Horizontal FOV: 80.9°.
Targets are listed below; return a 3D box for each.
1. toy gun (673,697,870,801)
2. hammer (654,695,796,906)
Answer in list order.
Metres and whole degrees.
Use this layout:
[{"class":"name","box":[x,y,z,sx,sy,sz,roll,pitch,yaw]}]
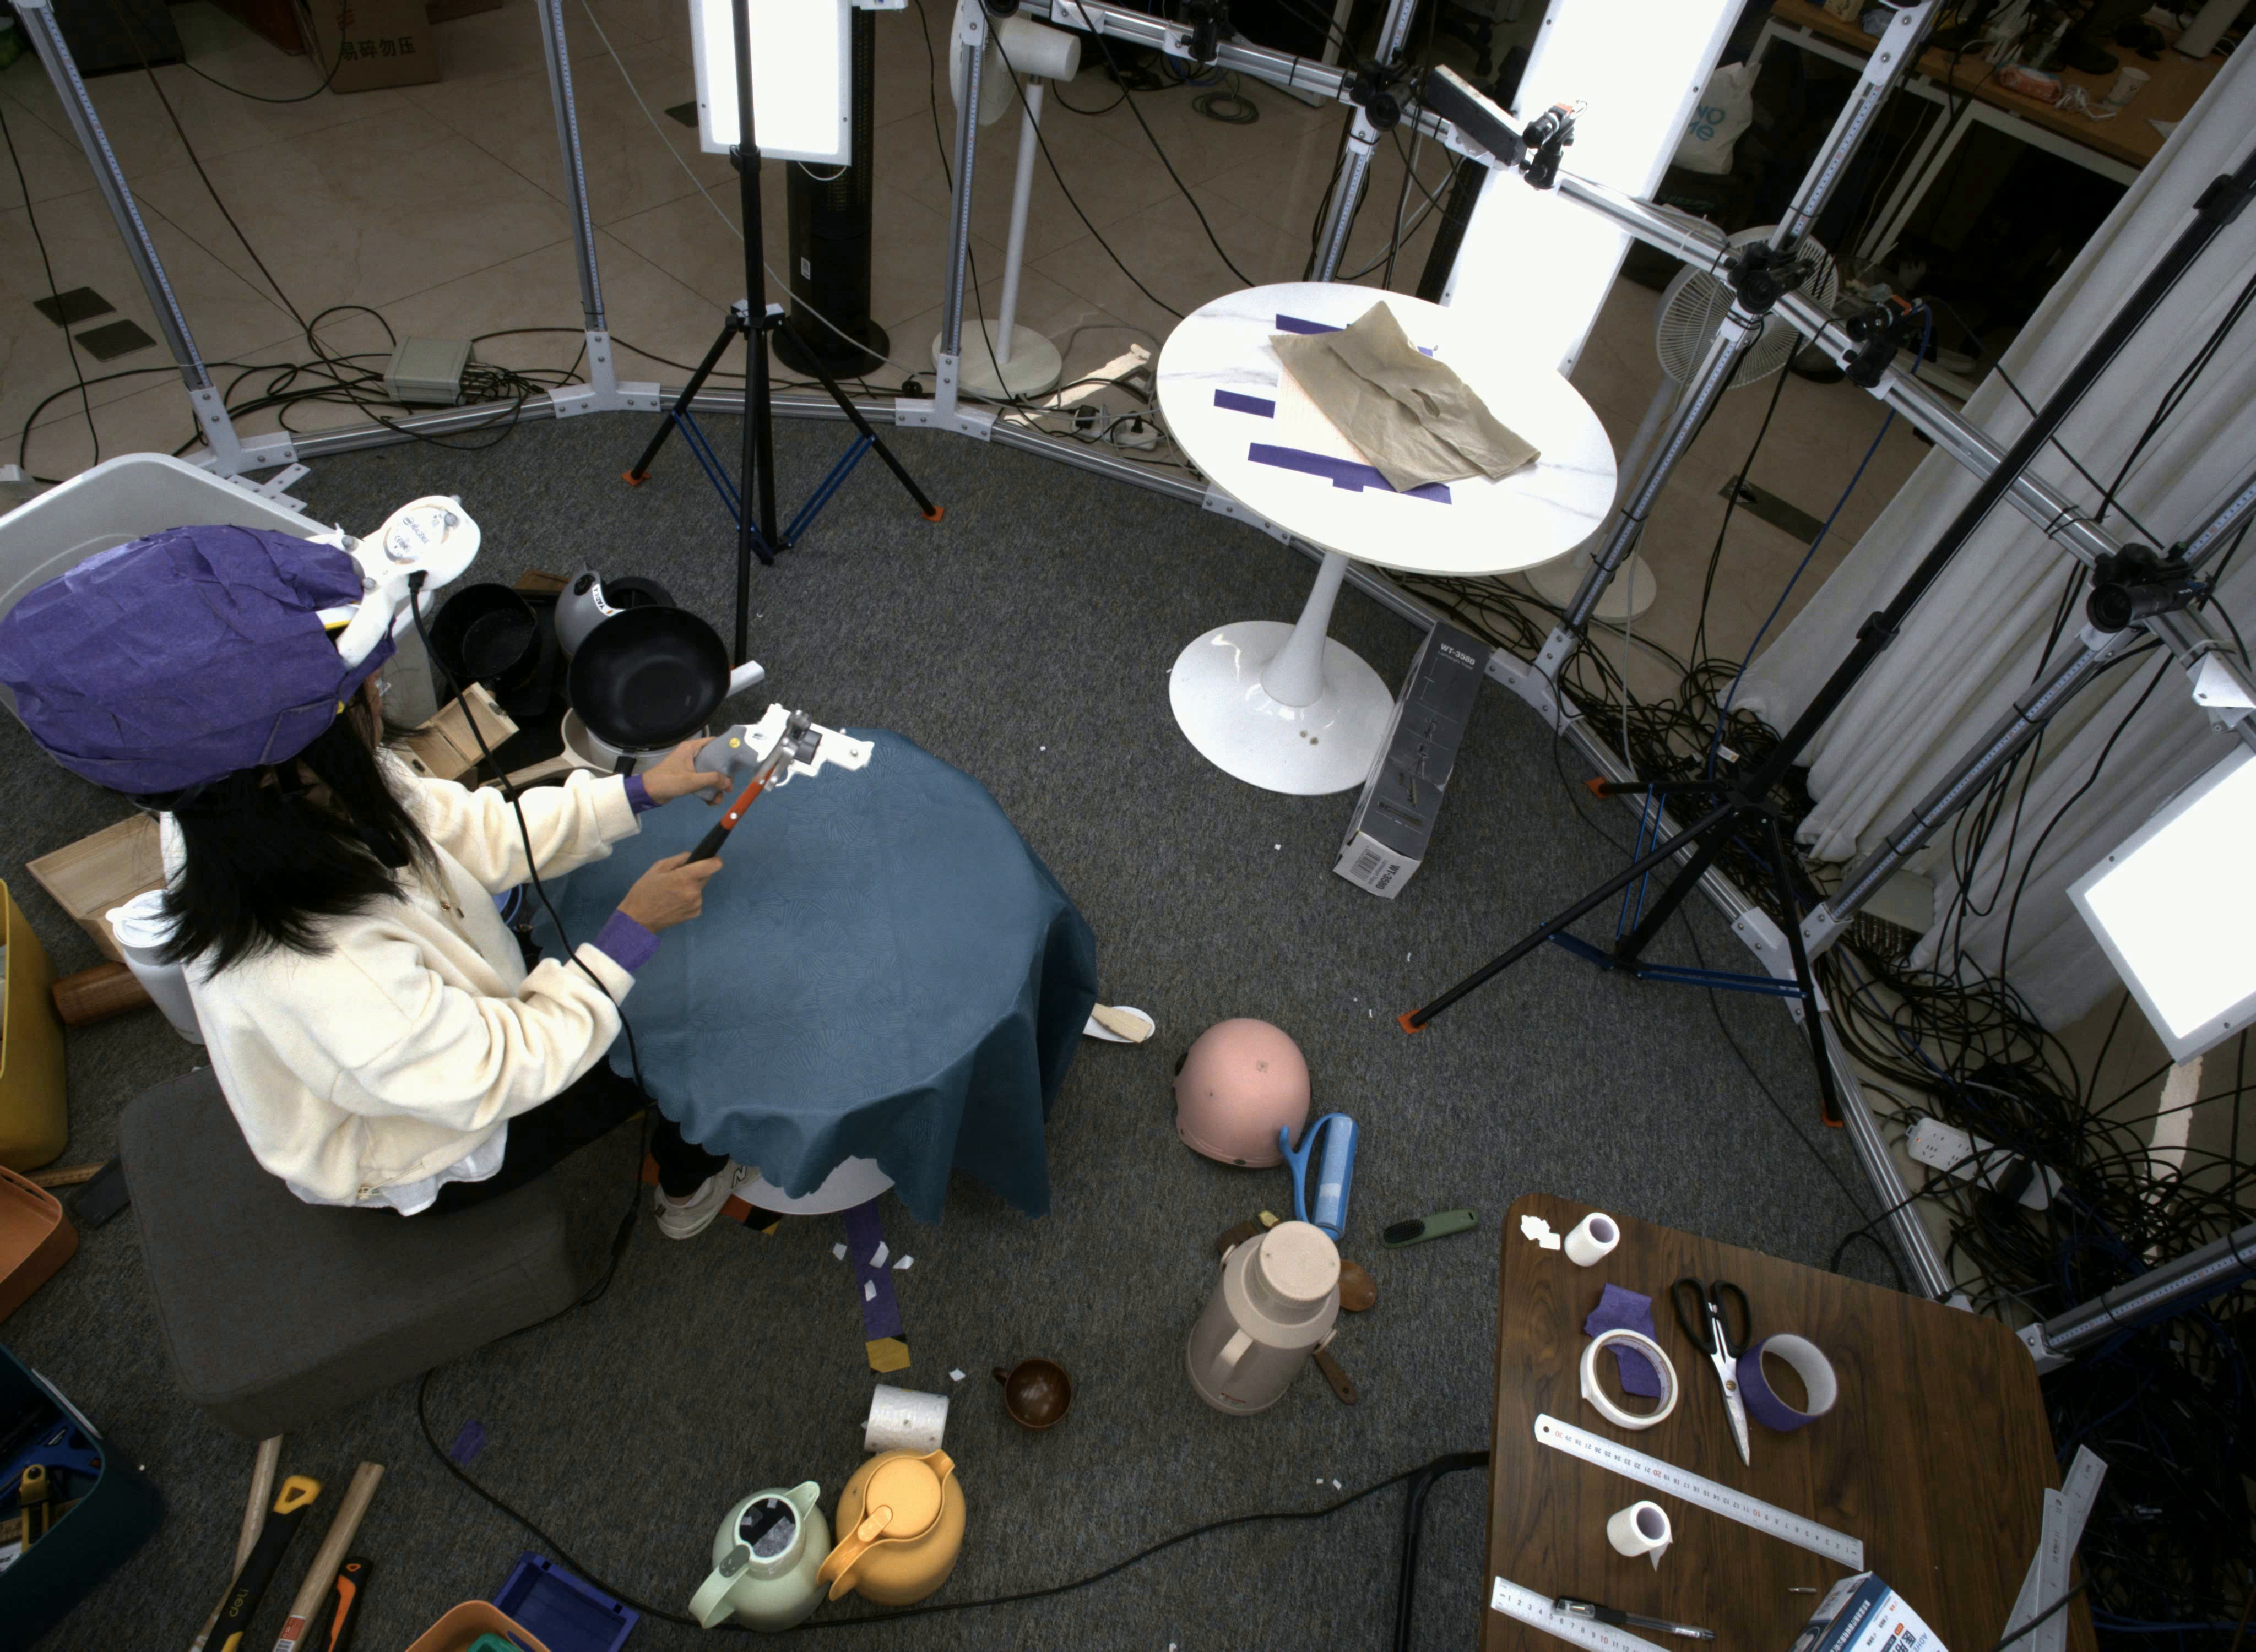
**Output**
[{"class":"toy gun","box":[-0.431,-0.080,1.565,0.209,0.038,0.142,19,82,-7]},{"class":"hammer","box":[-0.438,-0.013,1.386,0.027,0.277,0.108,30,27,-26]}]
